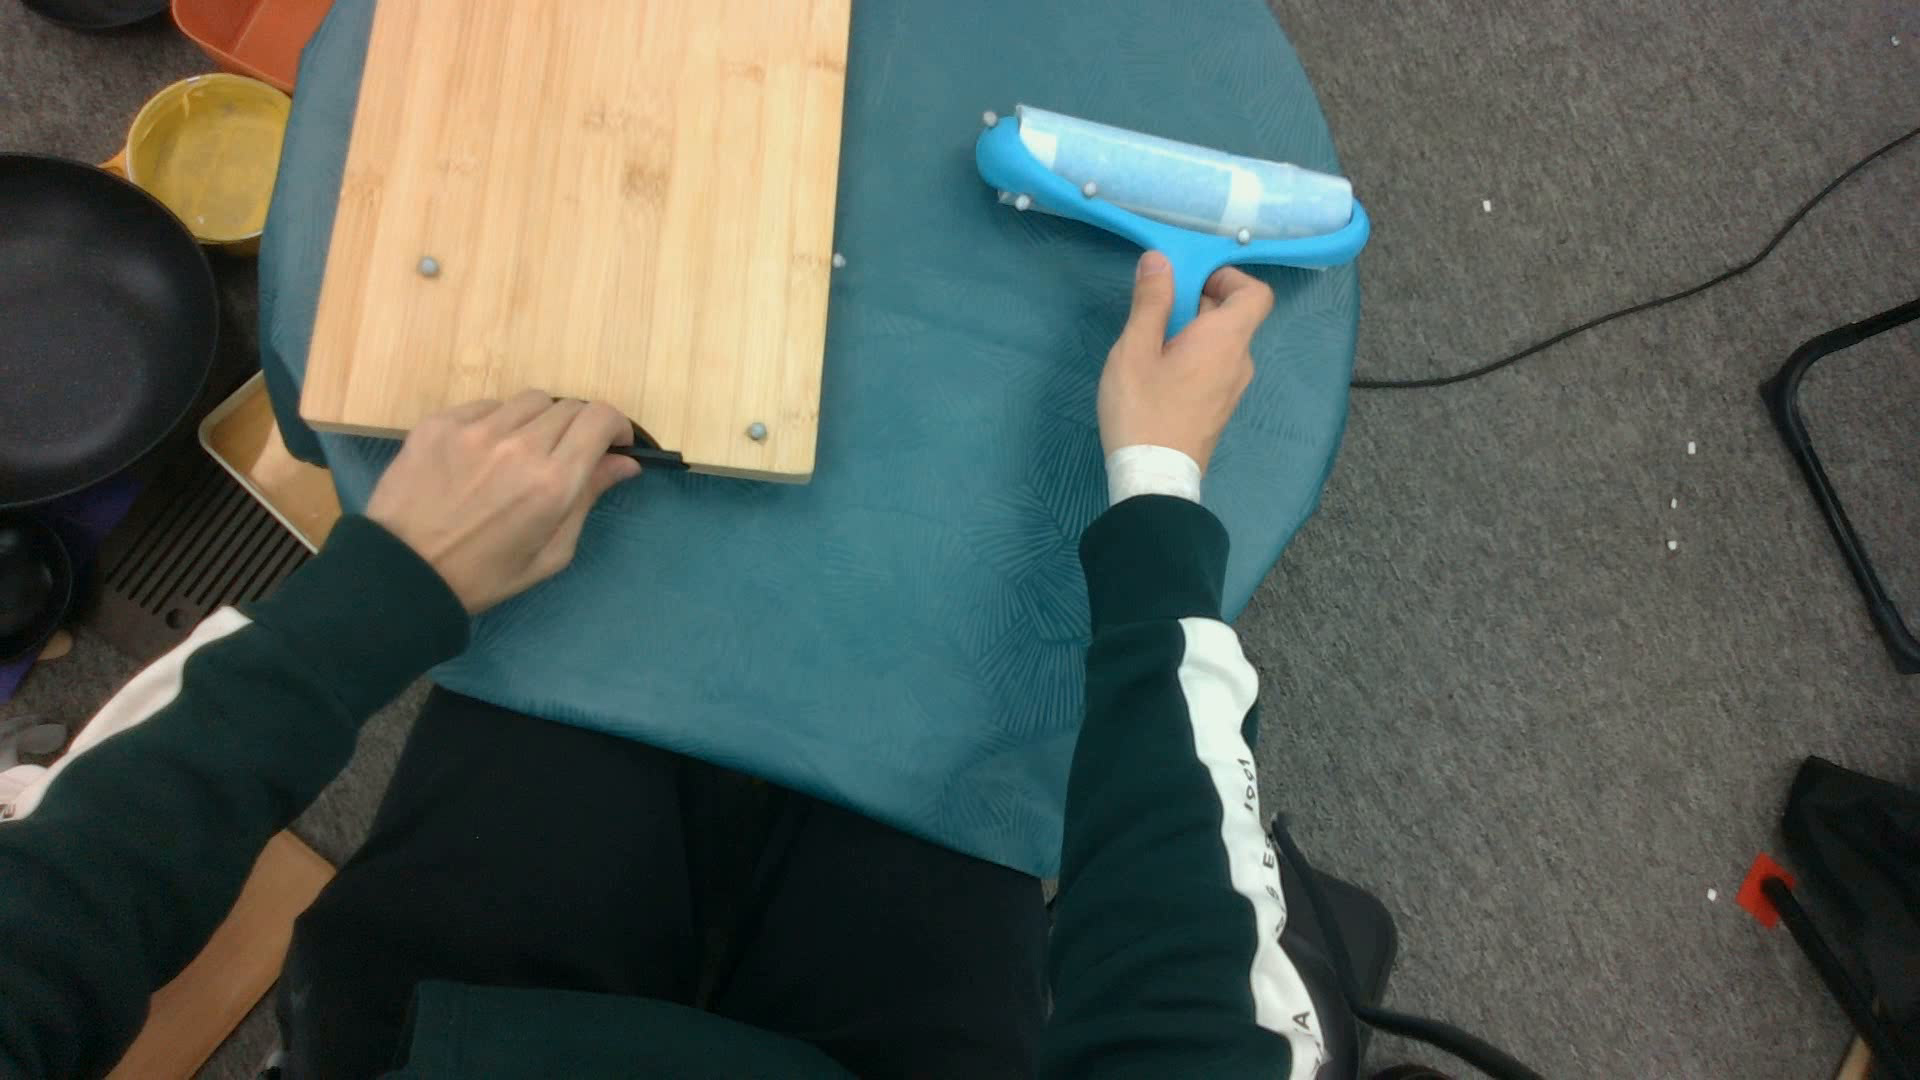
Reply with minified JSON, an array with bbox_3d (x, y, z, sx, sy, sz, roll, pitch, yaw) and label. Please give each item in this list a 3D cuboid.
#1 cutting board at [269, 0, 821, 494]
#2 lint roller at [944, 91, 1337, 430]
[{"bbox_3d":[-0.200,-0.199,0.716,0.251,0.023,0.349,3,74,-12],"label":"cutting board"},{"bbox_3d":[0.103,-0.154,0.757,0.229,0.067,0.181,6,69,-14],"label":"lint roller"}]
